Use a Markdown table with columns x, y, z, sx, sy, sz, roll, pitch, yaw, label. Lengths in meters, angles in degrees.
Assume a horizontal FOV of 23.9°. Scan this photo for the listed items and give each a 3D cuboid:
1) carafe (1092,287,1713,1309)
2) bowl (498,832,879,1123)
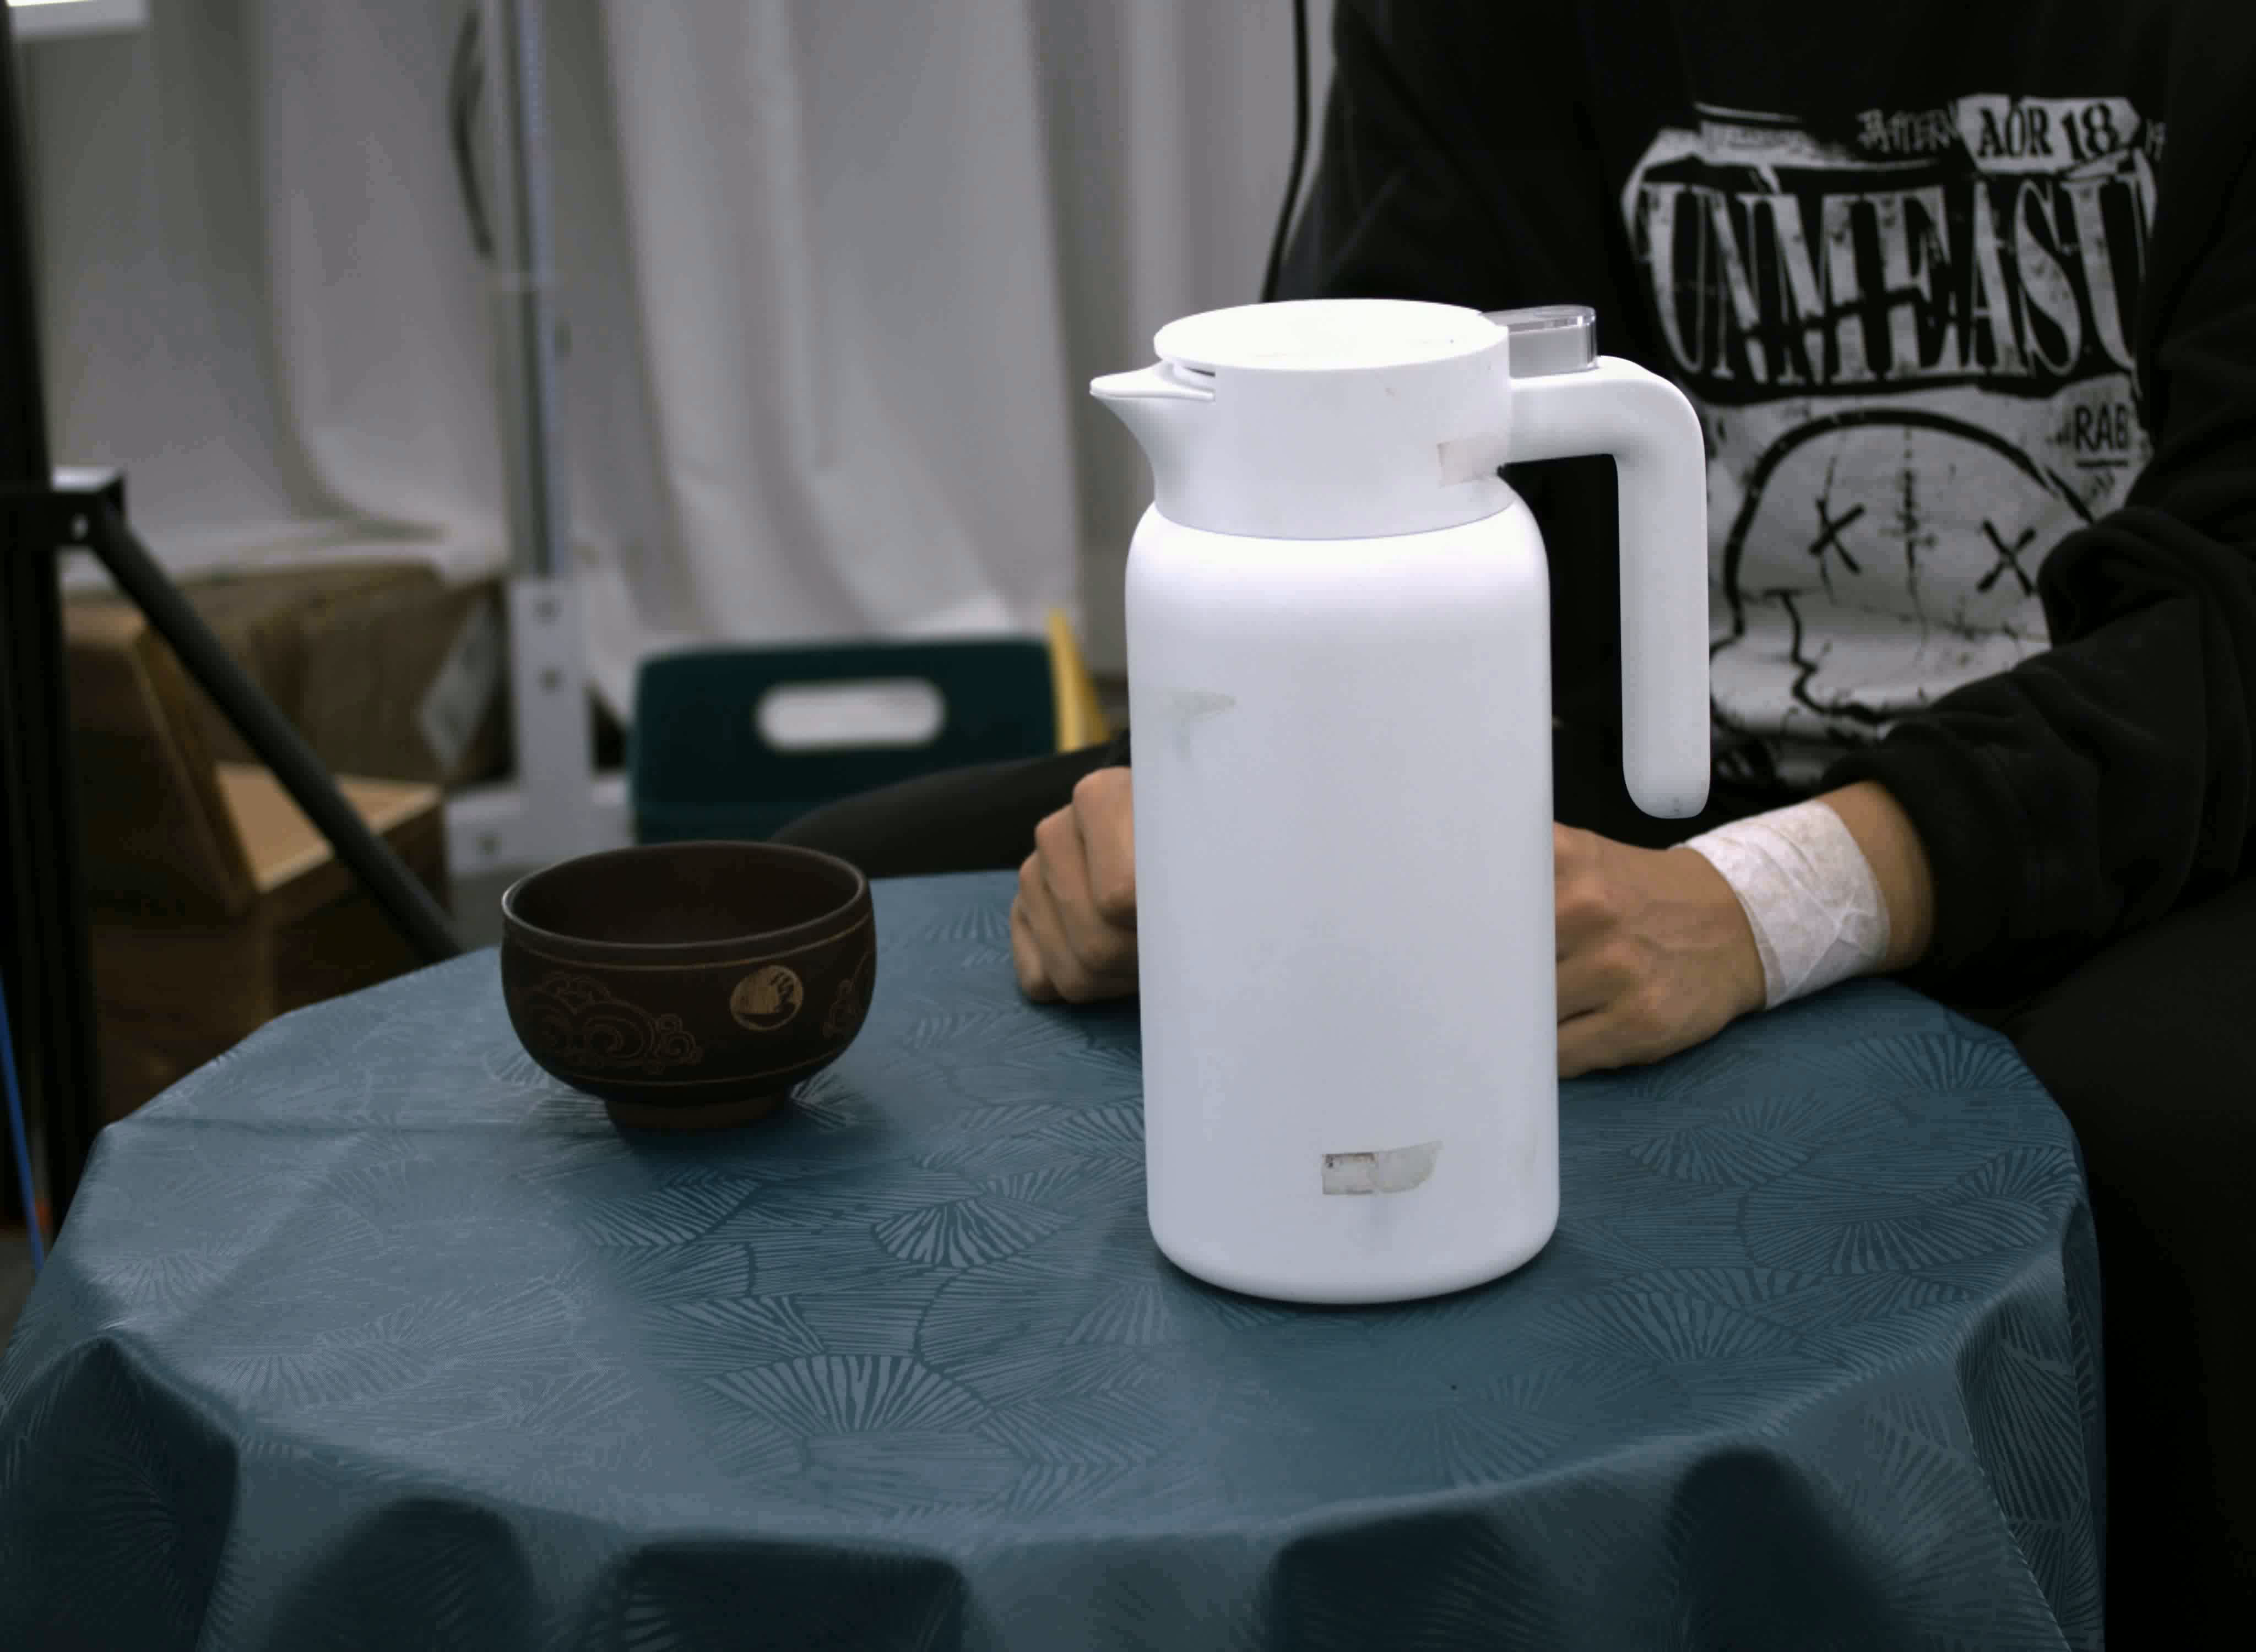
| x | y | z | sx | sy | sz | roll | pitch | yaw | label |
| --- | --- | --- | --- | --- | --- | --- | --- | --- | --- |
| 0.077 | -0.011 | 1.473 | 0.170 | 0.269 | 0.125 | -6 | 13 | -14 | carafe |
| -0.135 | 0.050 | 1.645 | 0.117 | 0.070 | 0.118 | -2 | 15 | -1 | bowl |
